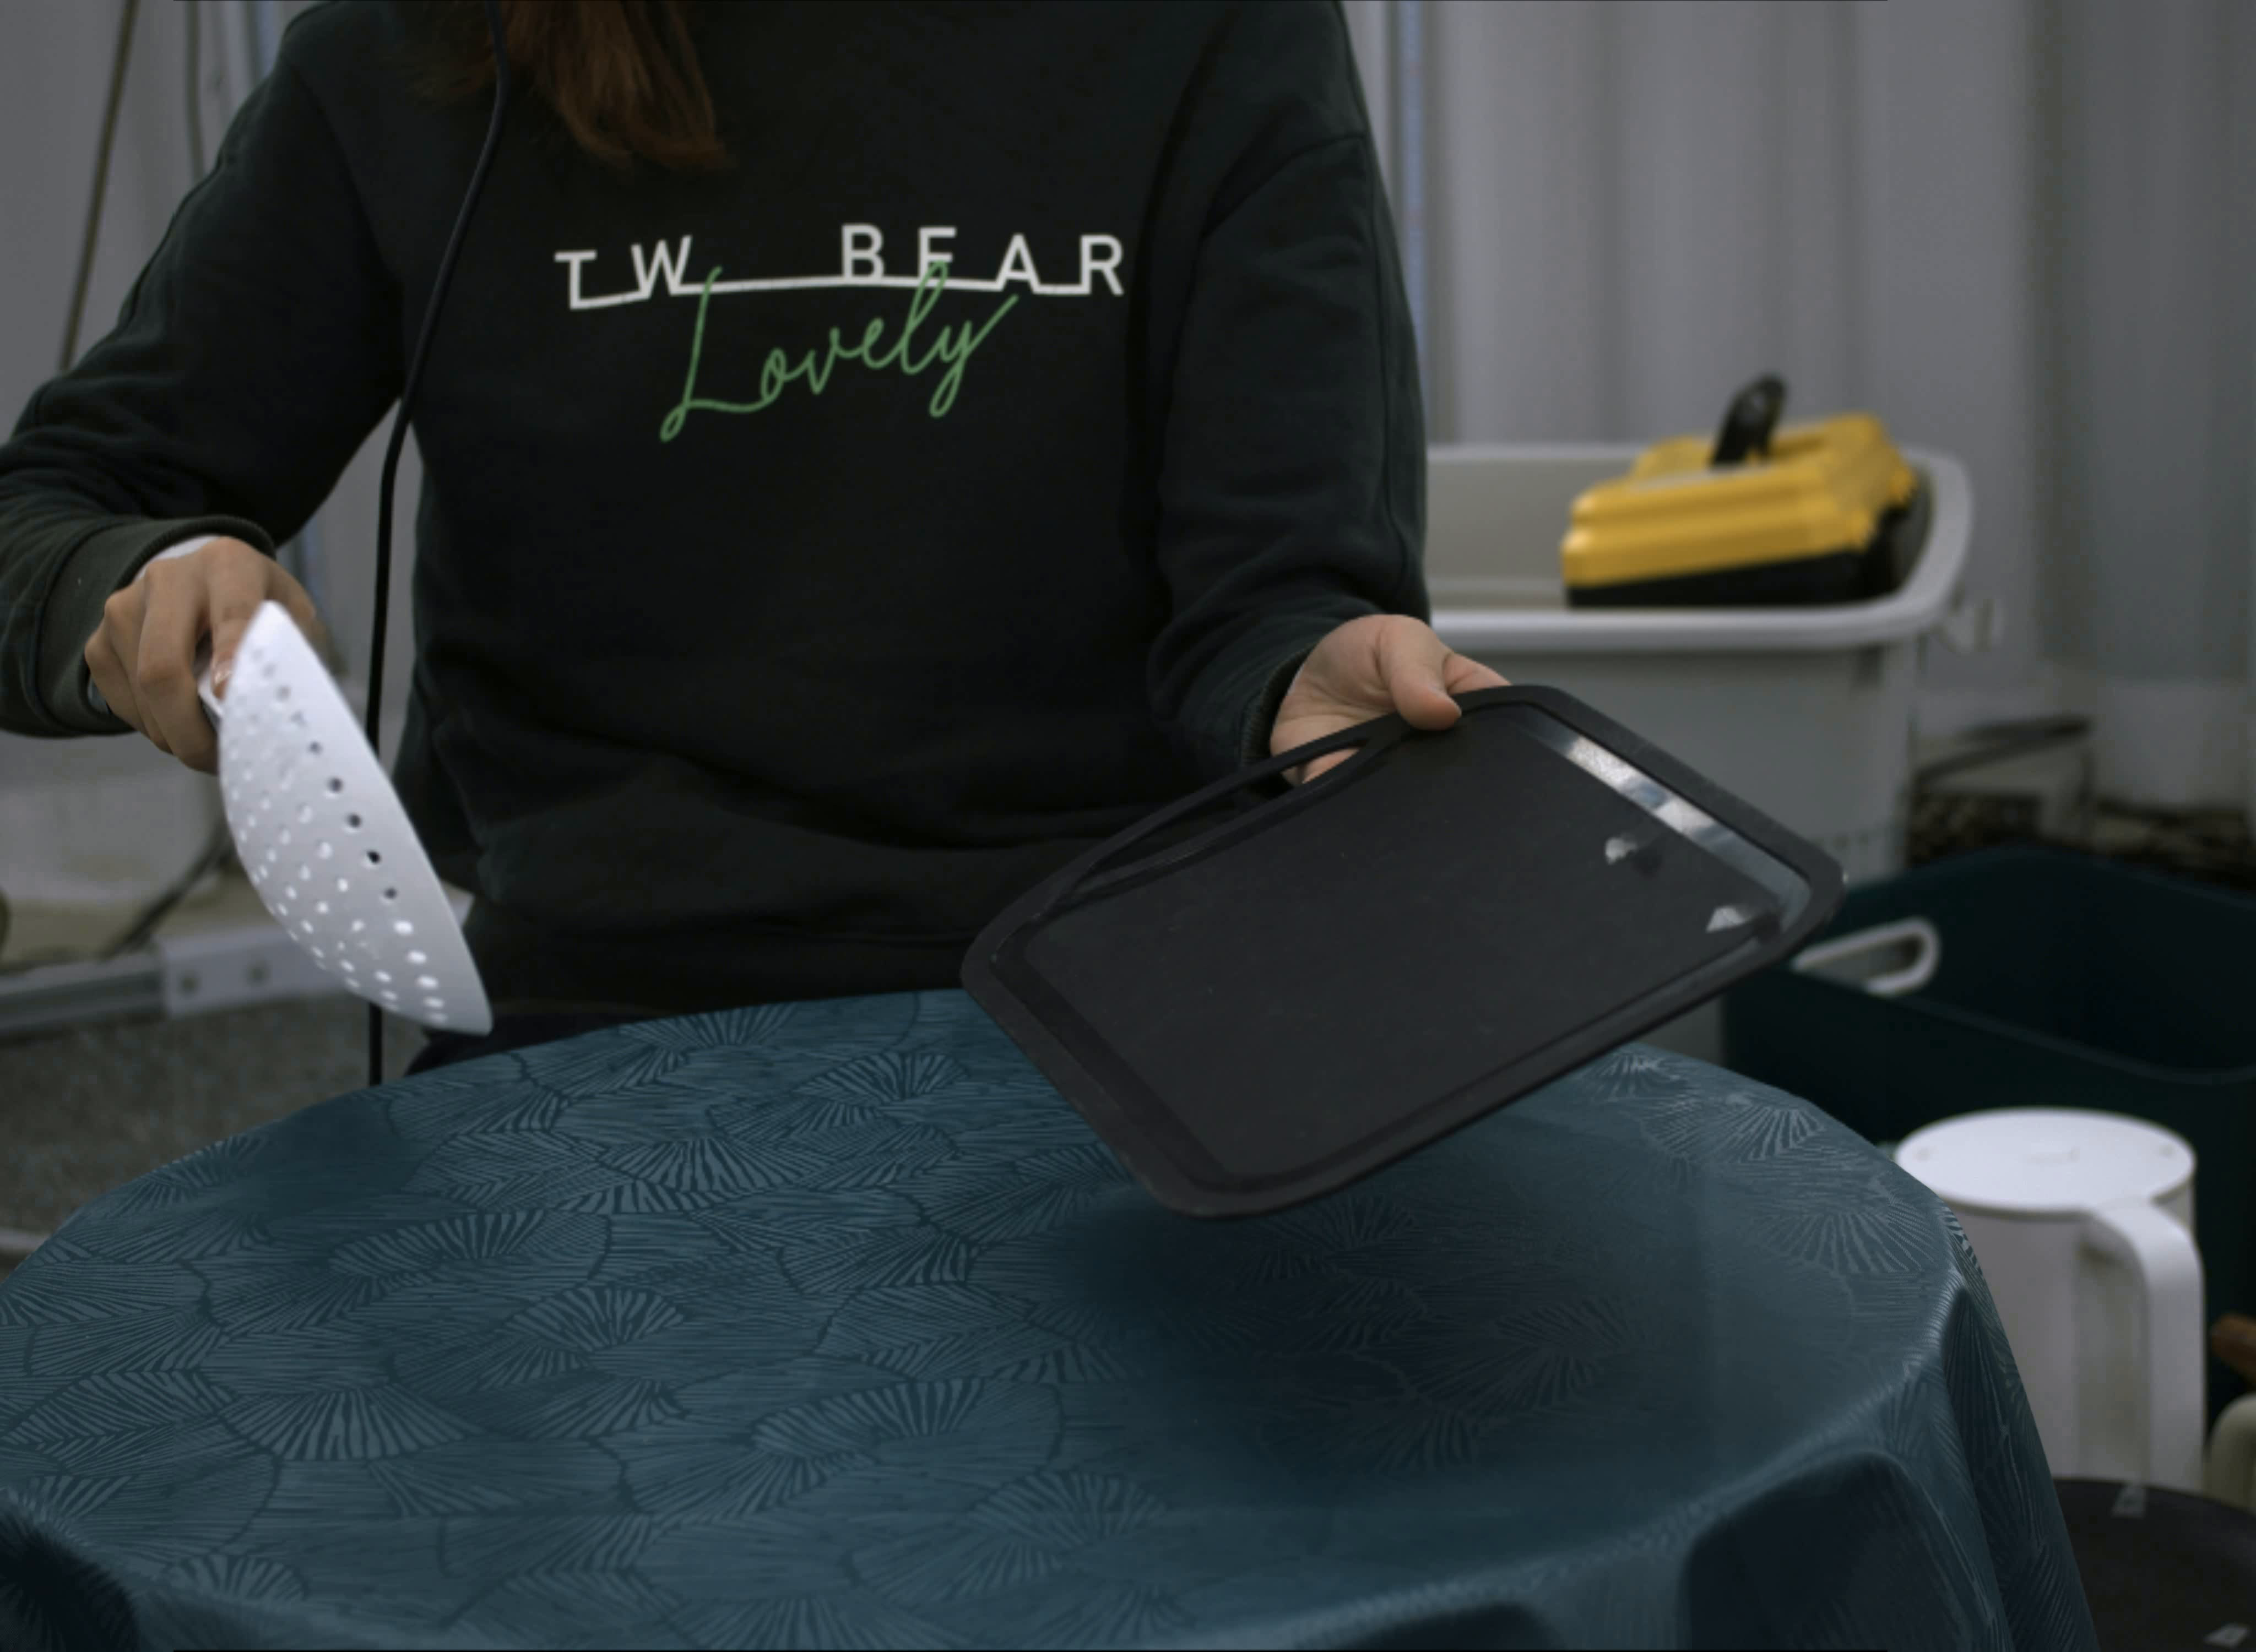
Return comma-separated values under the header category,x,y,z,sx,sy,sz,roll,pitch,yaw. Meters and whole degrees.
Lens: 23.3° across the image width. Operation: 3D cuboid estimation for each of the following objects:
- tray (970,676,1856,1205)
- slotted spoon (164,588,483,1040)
category,x,y,z,sx,sy,sz,roll,pitch,yaw
tray,0.070,0.025,1.592,0.211,0.010,0.328,-26,19,-8
slotted spoon,-0.250,-0.020,1.637,0.045,0.135,0.352,-20,16,-10
